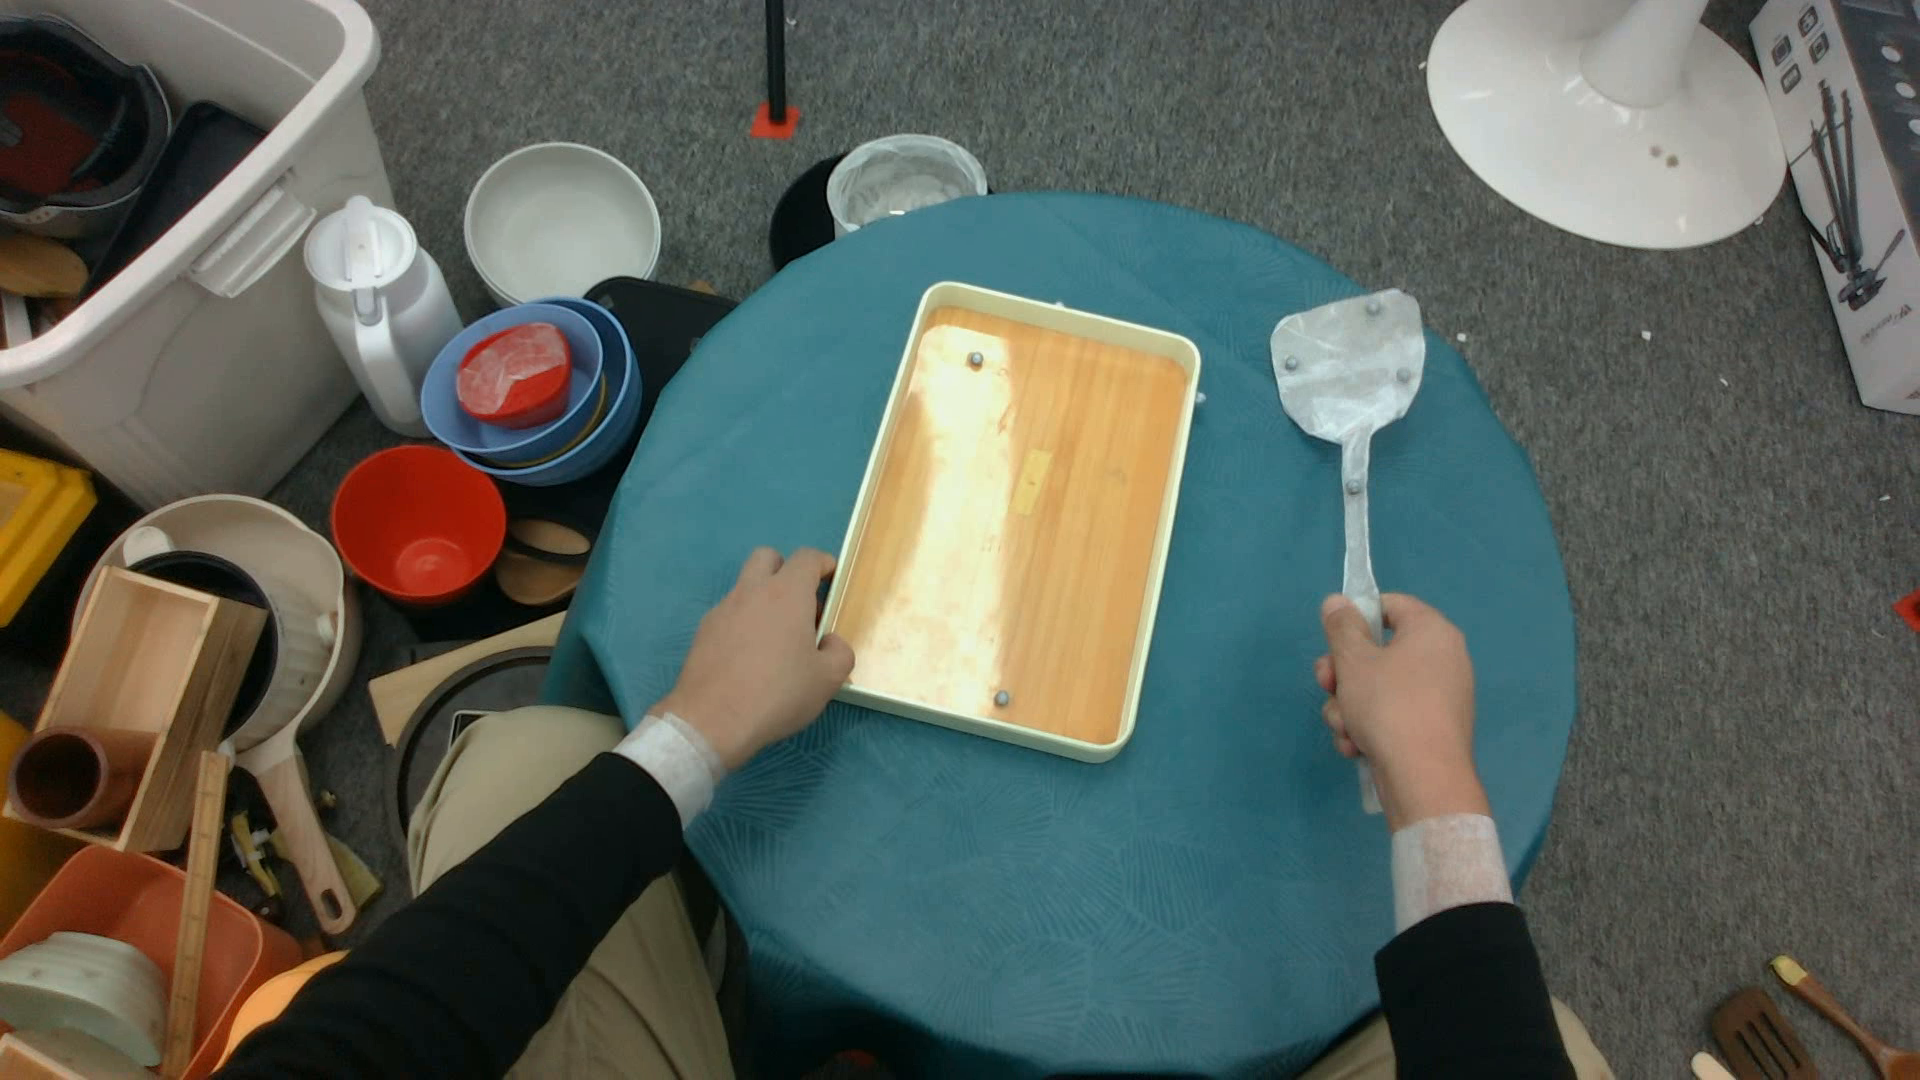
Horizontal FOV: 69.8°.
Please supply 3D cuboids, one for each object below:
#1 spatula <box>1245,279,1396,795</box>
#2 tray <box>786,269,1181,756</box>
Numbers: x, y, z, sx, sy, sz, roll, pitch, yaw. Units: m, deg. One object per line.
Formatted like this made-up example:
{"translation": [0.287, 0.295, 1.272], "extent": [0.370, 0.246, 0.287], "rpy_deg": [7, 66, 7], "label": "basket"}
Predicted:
{"translation": [0.220, -0.019, 0.819], "extent": [0.098, 0.044, 0.367], "rpy_deg": [-13, 45, 25], "label": "spatula"}
{"translation": [0.022, -0.027, 0.852], "extent": [0.191, 0.027, 0.301], "rpy_deg": [14, 62, 1], "label": "tray"}
